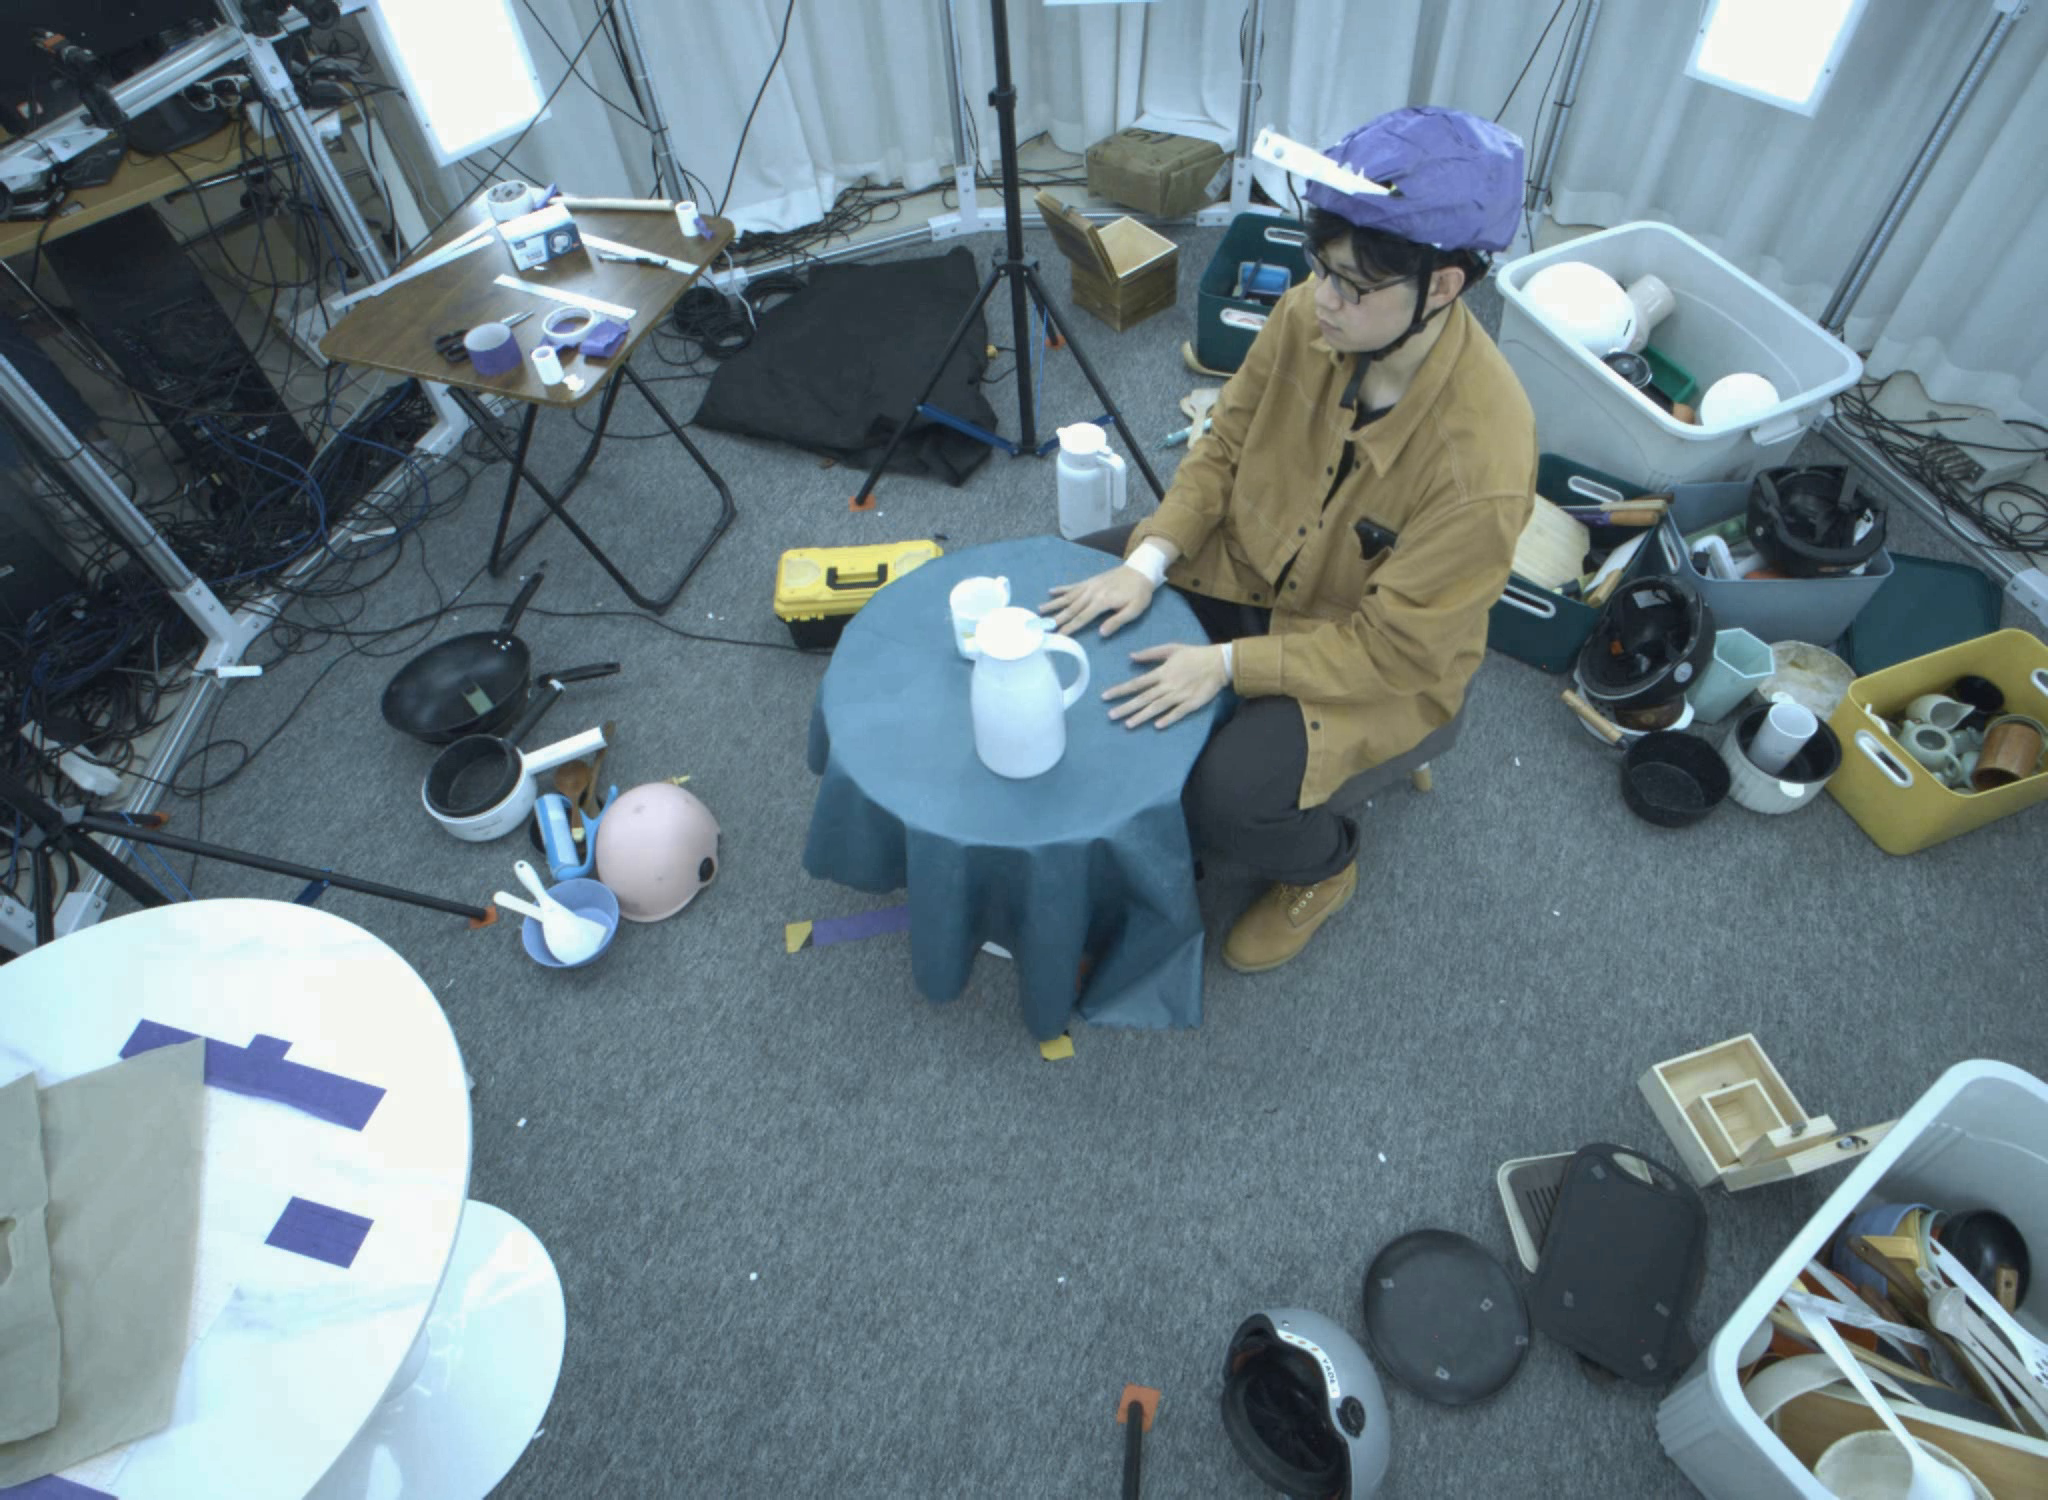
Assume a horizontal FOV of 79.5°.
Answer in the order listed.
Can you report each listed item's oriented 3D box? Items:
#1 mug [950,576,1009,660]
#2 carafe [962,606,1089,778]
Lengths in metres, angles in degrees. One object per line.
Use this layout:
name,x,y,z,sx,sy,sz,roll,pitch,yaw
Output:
mug,-0.059,-0.209,1.872,0.084,0.103,0.118,24,58,18
carafe,0.006,-0.089,1.693,0.168,0.251,0.130,-9,53,-3
